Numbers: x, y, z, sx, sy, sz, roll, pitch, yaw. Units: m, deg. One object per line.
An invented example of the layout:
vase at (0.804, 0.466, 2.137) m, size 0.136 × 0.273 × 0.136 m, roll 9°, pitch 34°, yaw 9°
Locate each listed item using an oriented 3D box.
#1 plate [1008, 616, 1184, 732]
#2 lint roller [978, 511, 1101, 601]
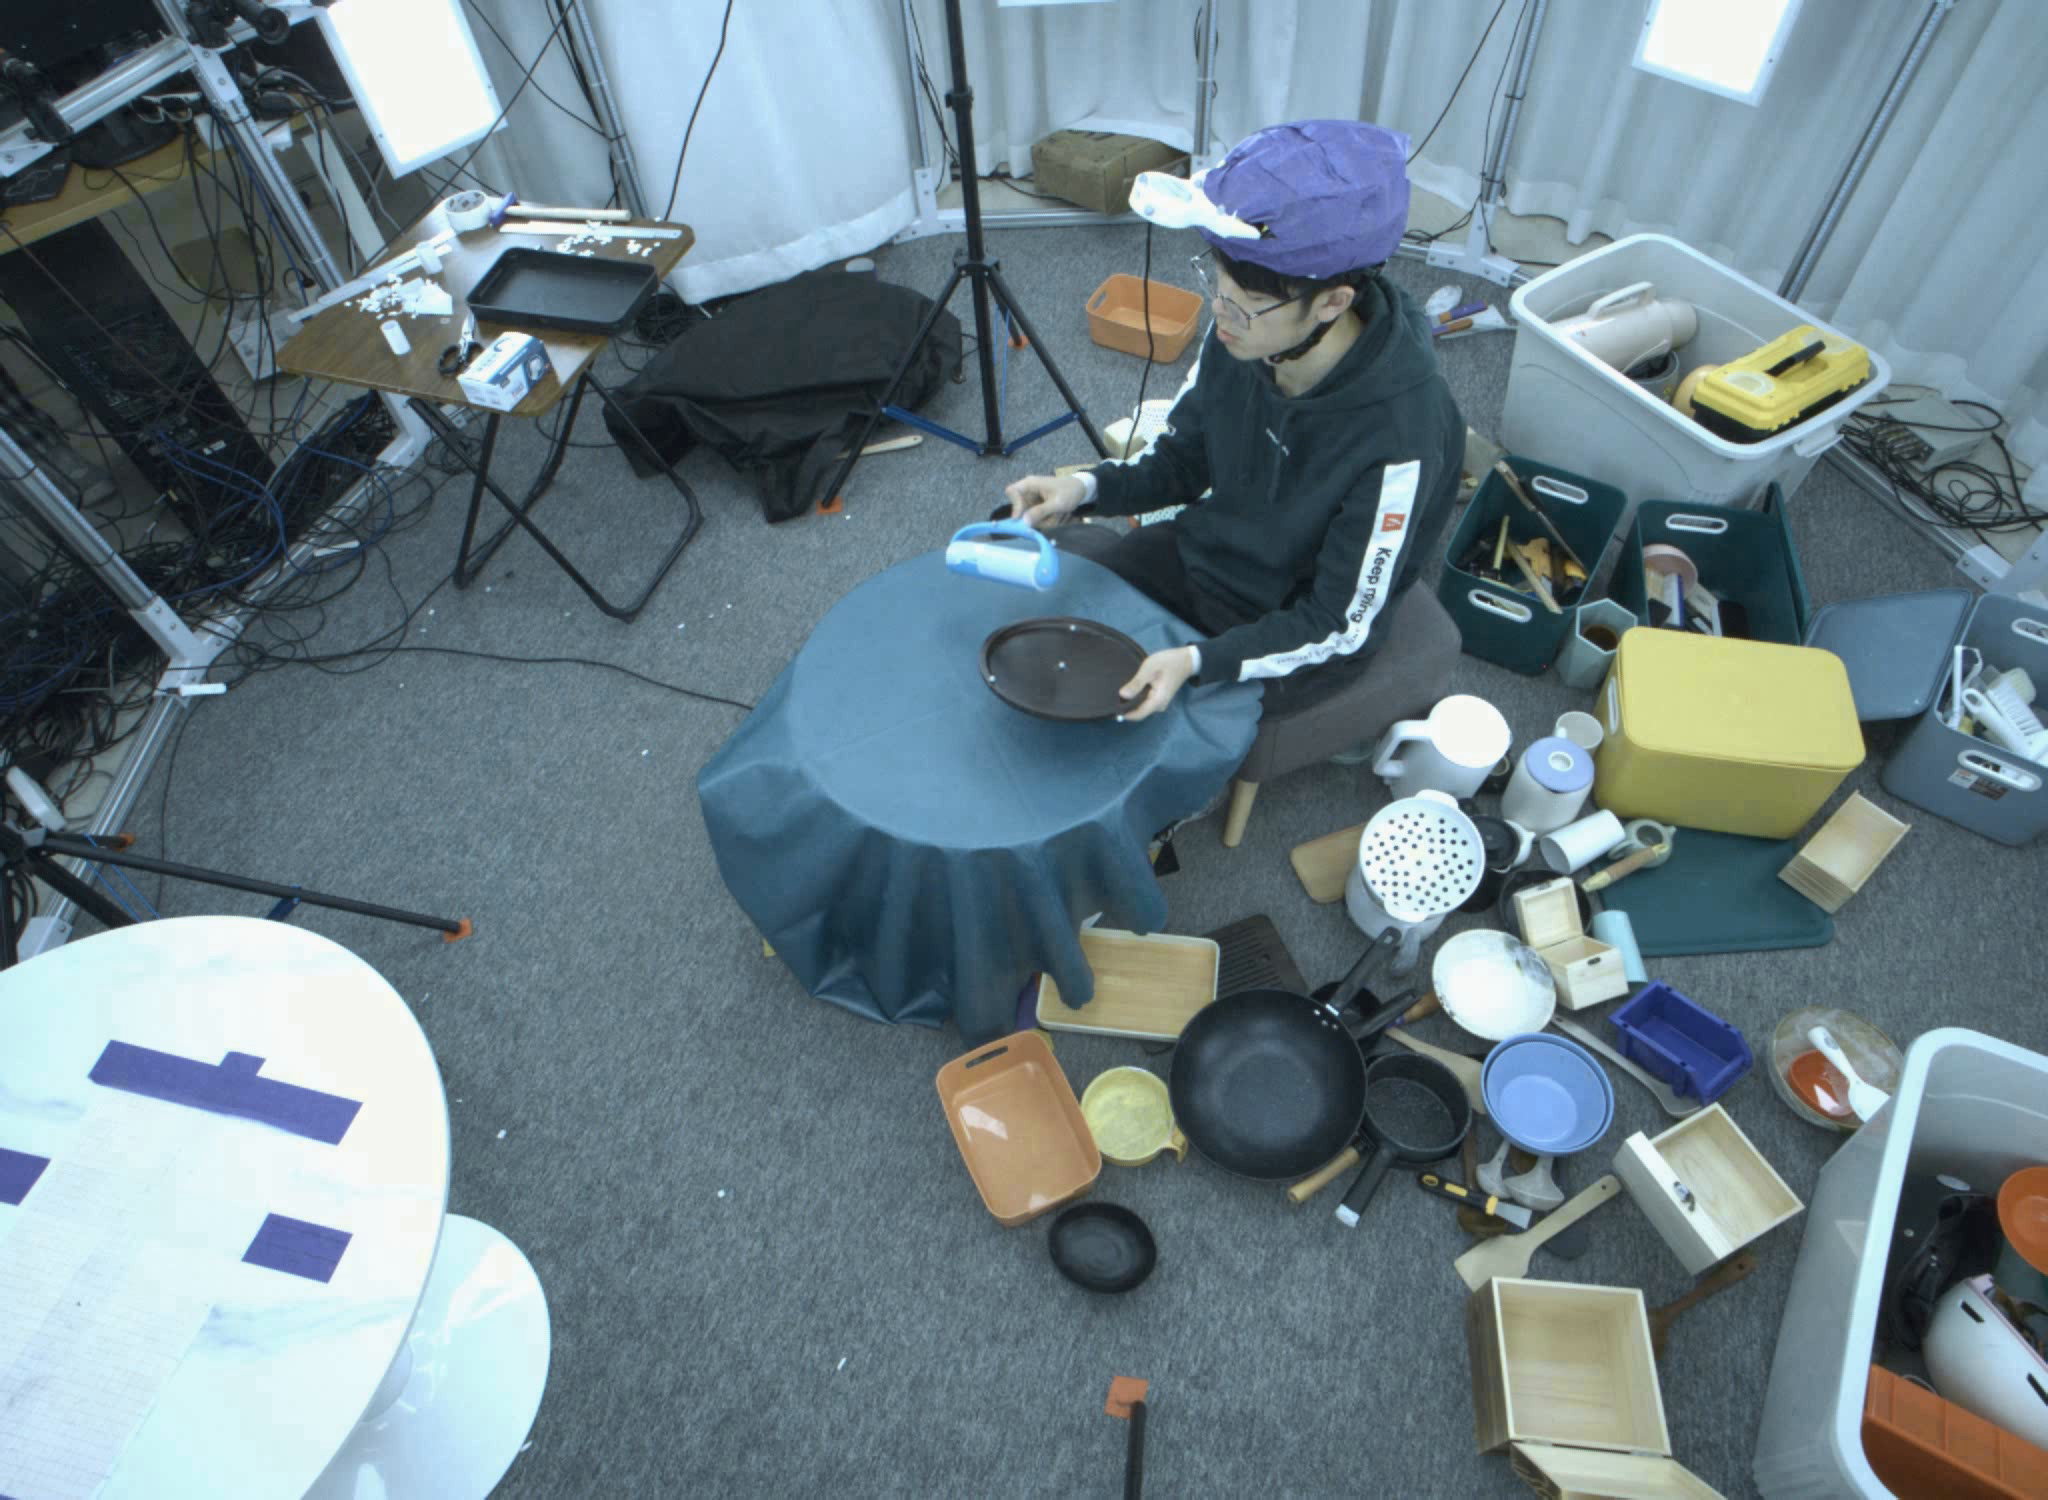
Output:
plate at (0.102, -0.108, 1.748) m, size 0.256 × 0.029 × 0.252 m, roll 6°, pitch 41°, yaw -4°
lint roller at (0.045, -0.310, 1.828) m, size 0.223 × 0.069 × 0.180 m, roll 17°, pitch 64°, yaw 42°
